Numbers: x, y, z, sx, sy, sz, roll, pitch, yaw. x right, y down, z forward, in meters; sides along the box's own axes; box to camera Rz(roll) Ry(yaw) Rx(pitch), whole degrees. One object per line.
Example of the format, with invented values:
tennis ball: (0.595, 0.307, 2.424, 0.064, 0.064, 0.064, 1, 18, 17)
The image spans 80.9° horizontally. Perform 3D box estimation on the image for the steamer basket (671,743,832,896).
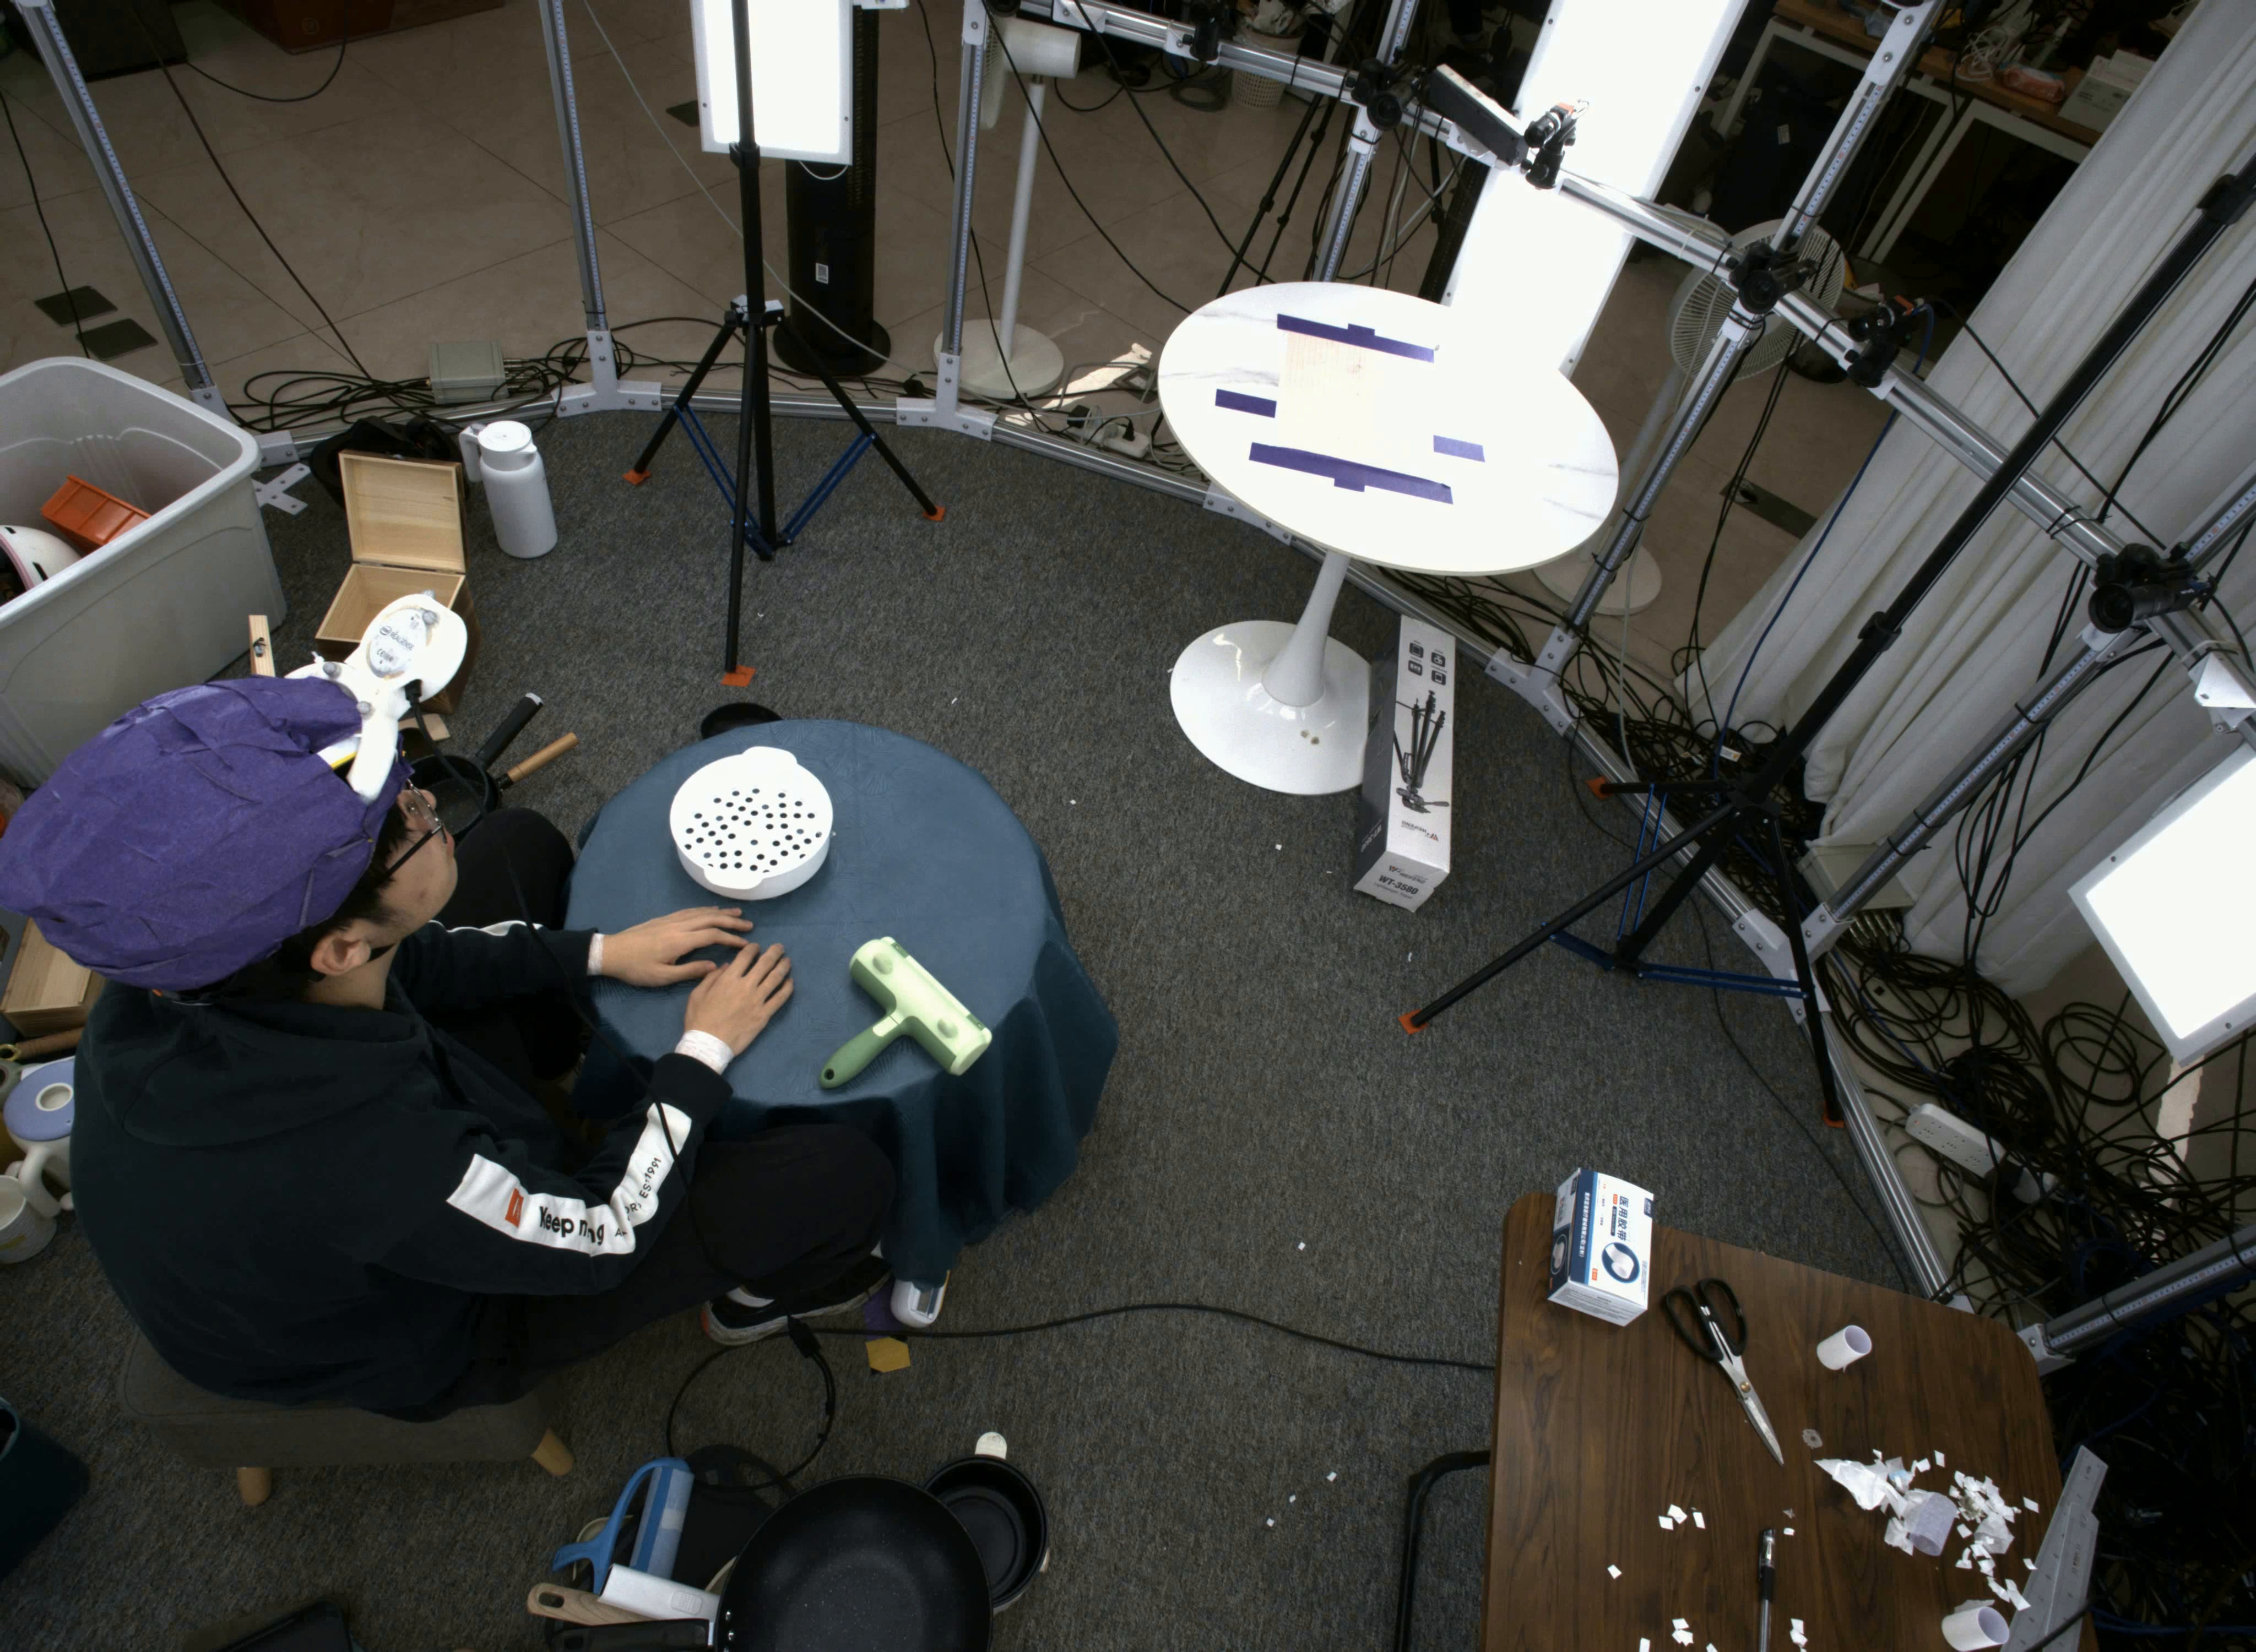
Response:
steamer basket: (-0.485, -0.004, 1.672, 0.201, 0.070, 0.226, 10, 51, -8)

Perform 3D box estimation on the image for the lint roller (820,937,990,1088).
lint roller: (-0.291, 0.236, 1.541, 0.194, 0.084, 0.184, 41, 51, 16)
